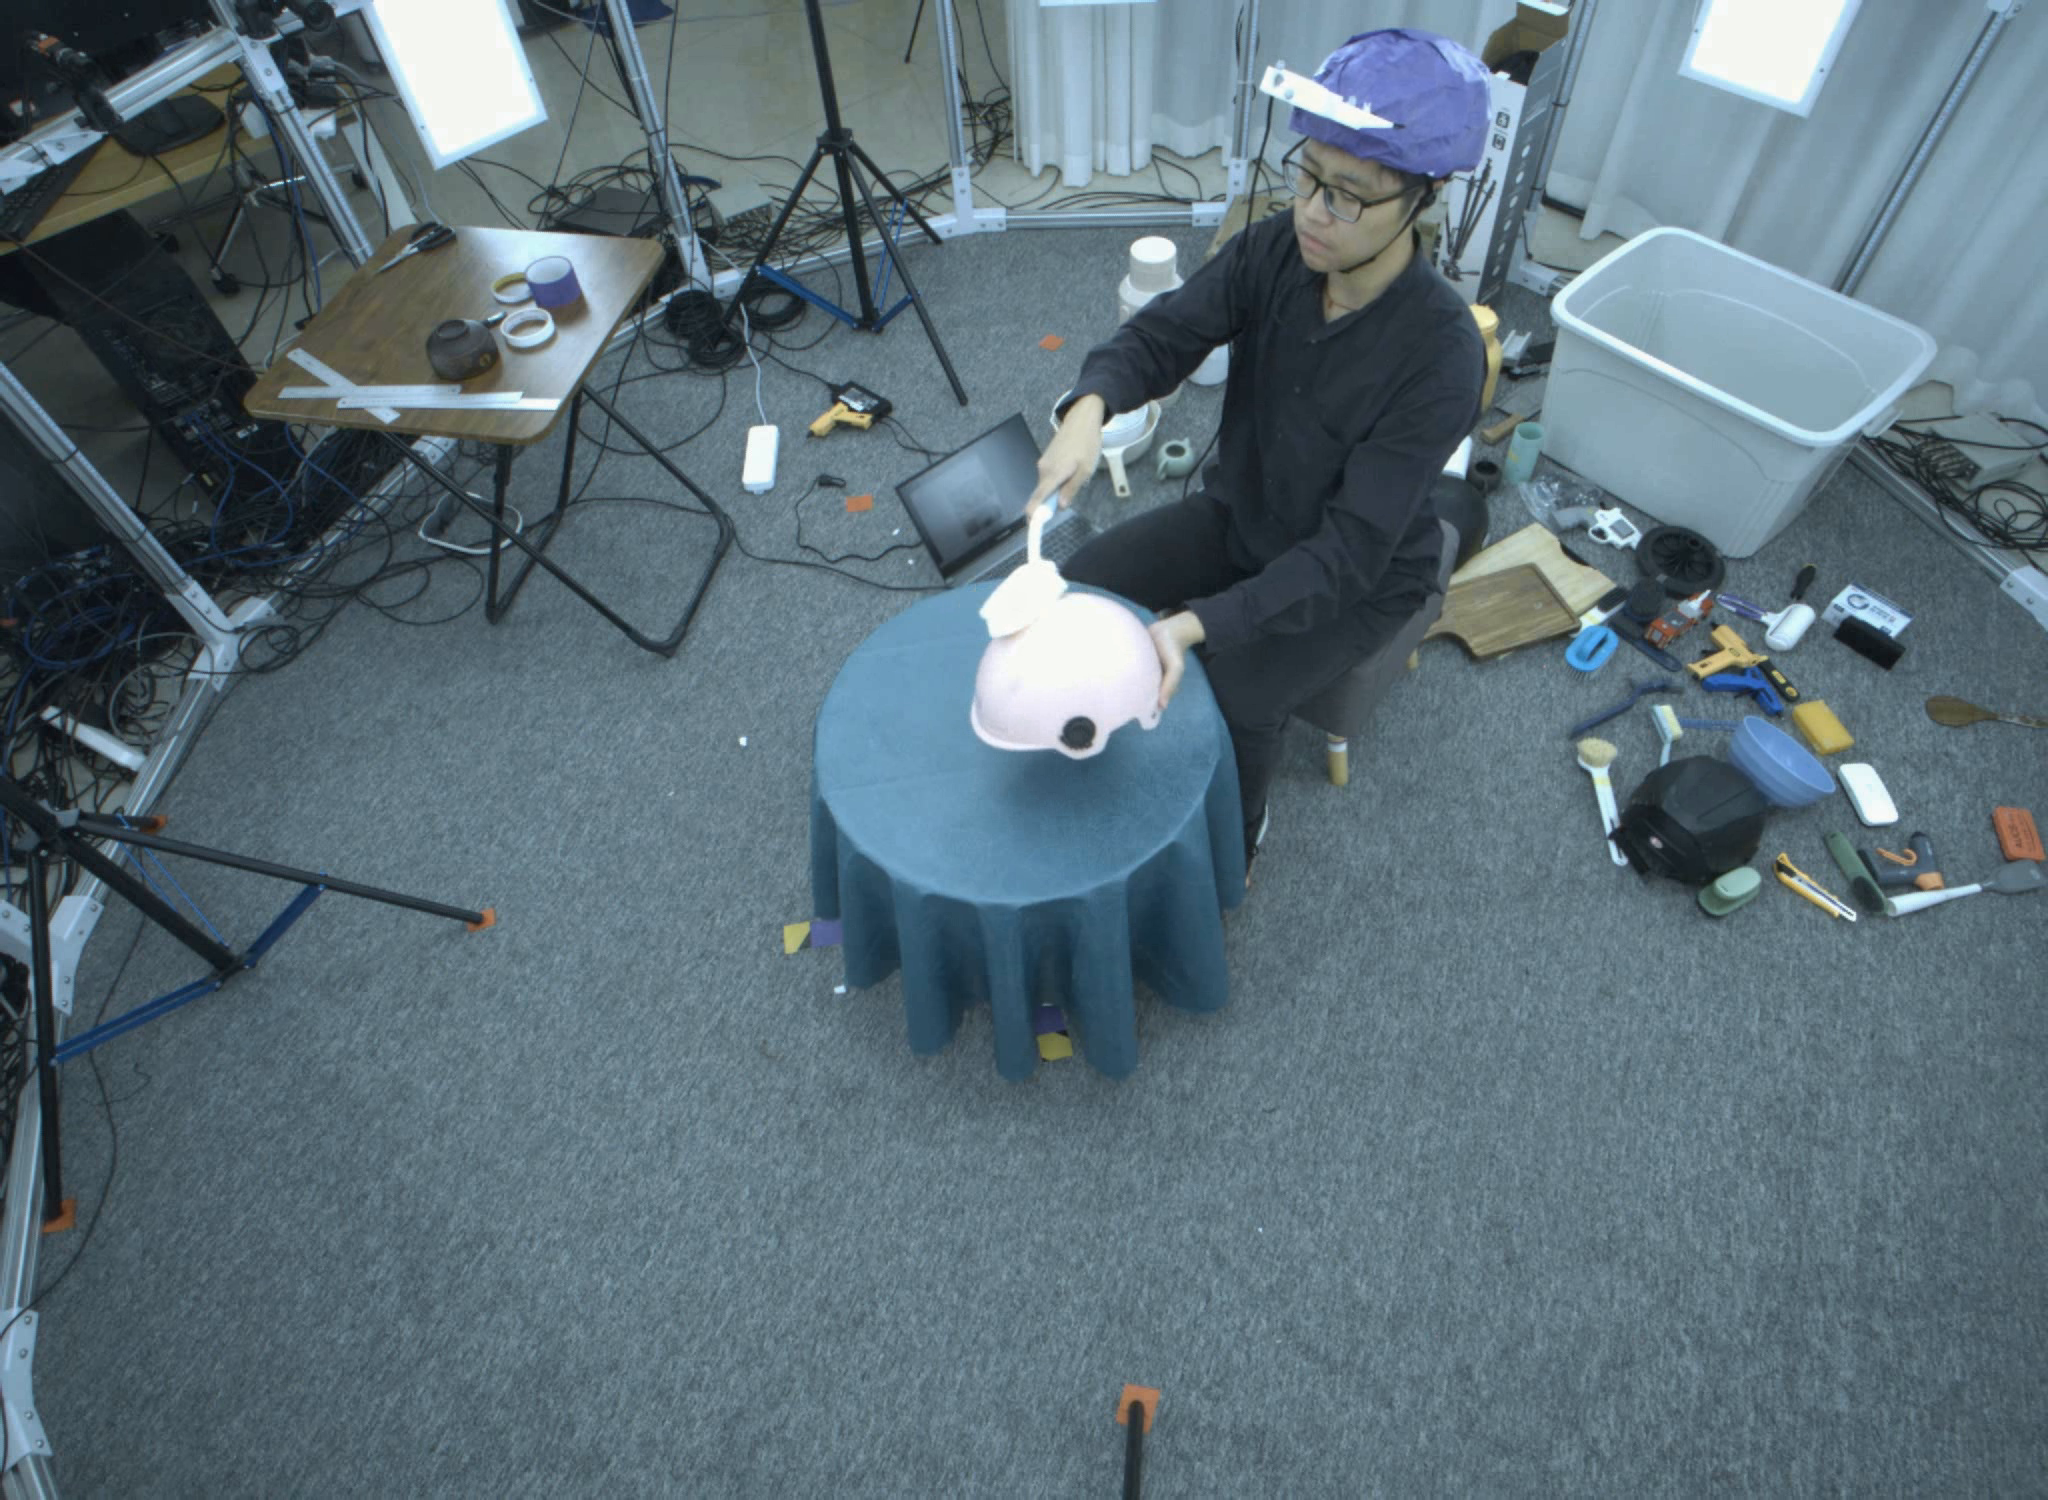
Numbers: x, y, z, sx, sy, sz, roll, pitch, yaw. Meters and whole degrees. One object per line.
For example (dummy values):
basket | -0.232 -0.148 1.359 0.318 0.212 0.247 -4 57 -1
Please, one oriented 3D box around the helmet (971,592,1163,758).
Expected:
helmet | 0.048 -0.116 1.619 0.268 0.161 0.229 -19 39 -12

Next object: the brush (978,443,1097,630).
brush | 0.040 -0.276 1.628 0.082 0.085 0.325 24 64 11
